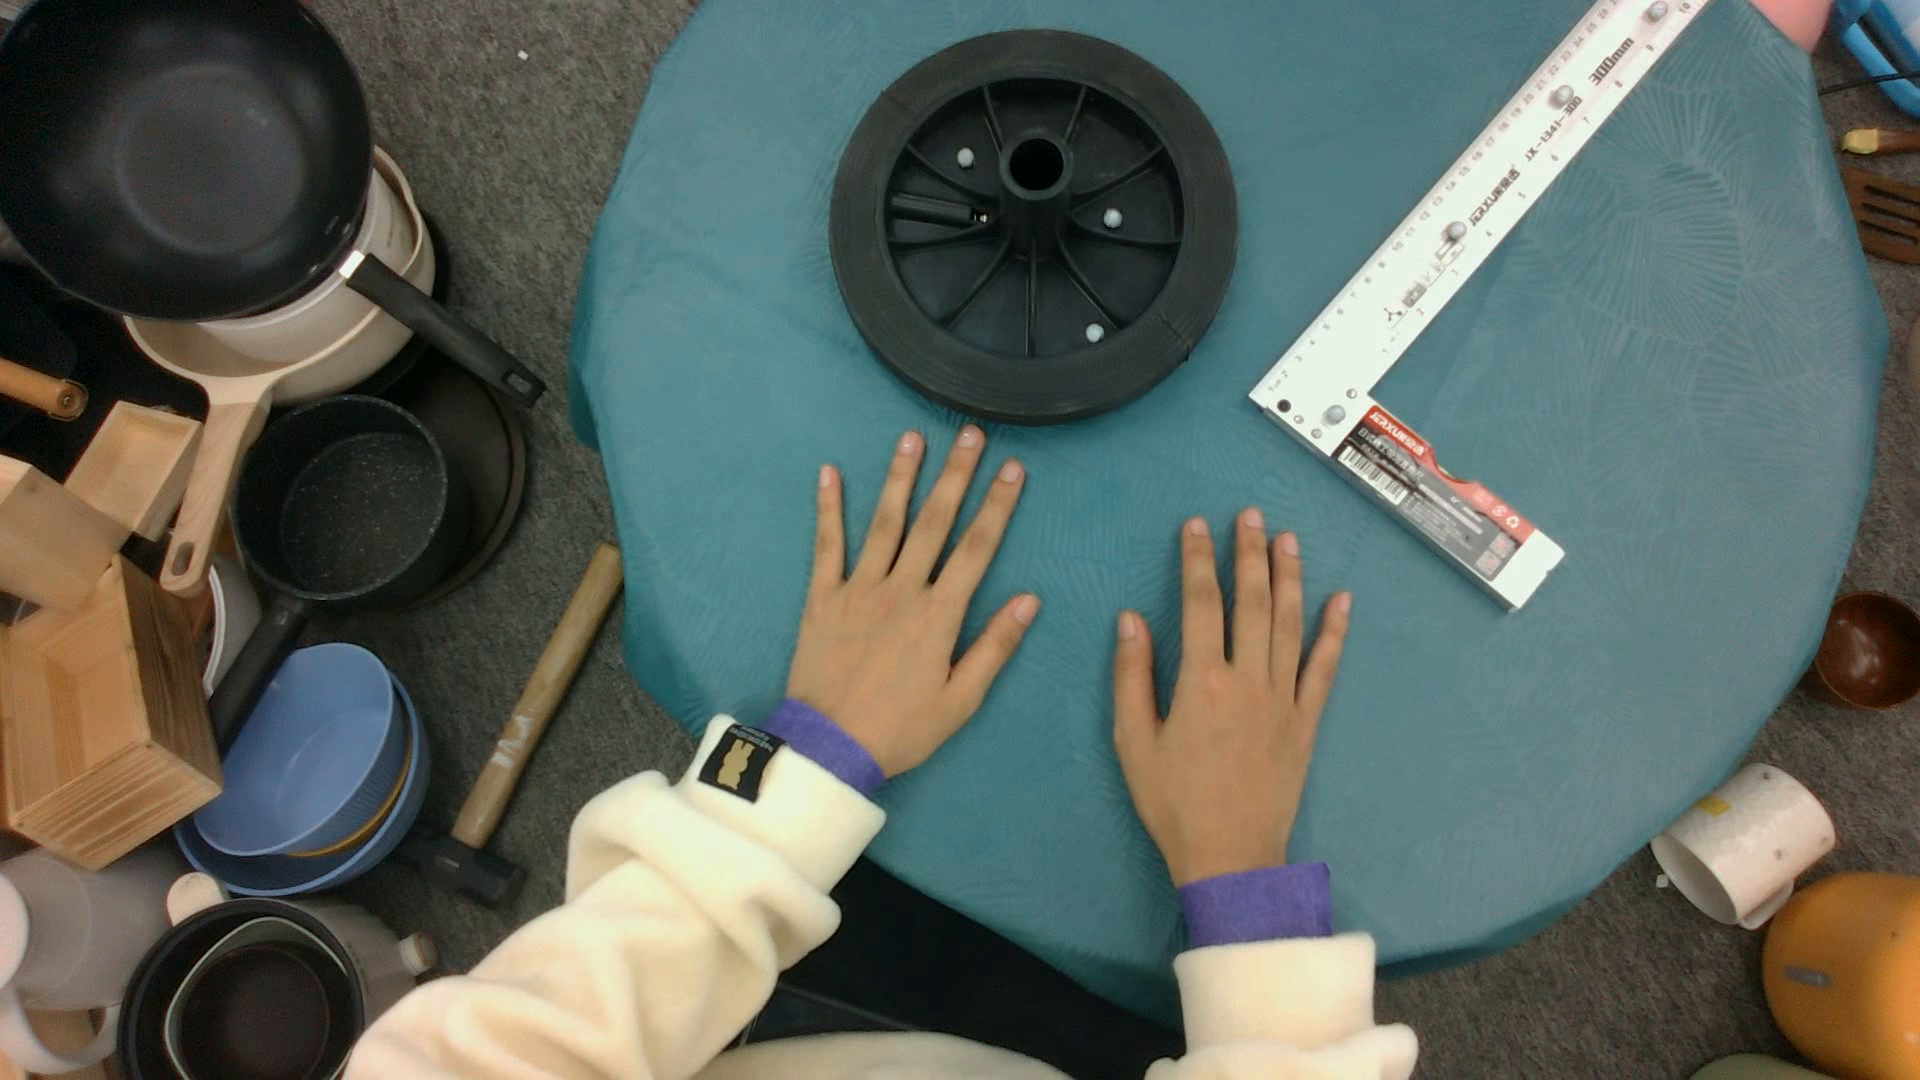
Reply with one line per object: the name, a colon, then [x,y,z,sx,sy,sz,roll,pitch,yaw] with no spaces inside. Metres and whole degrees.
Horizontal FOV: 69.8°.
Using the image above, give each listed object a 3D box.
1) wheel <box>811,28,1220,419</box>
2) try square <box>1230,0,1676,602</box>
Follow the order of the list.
wheel: [0.026,-0.152,0.618,0.190,0.079,0.187,-13,79,-2]
try square: [0.280,-0.134,0.649,0.152,0.016,0.313,41,81,5]
